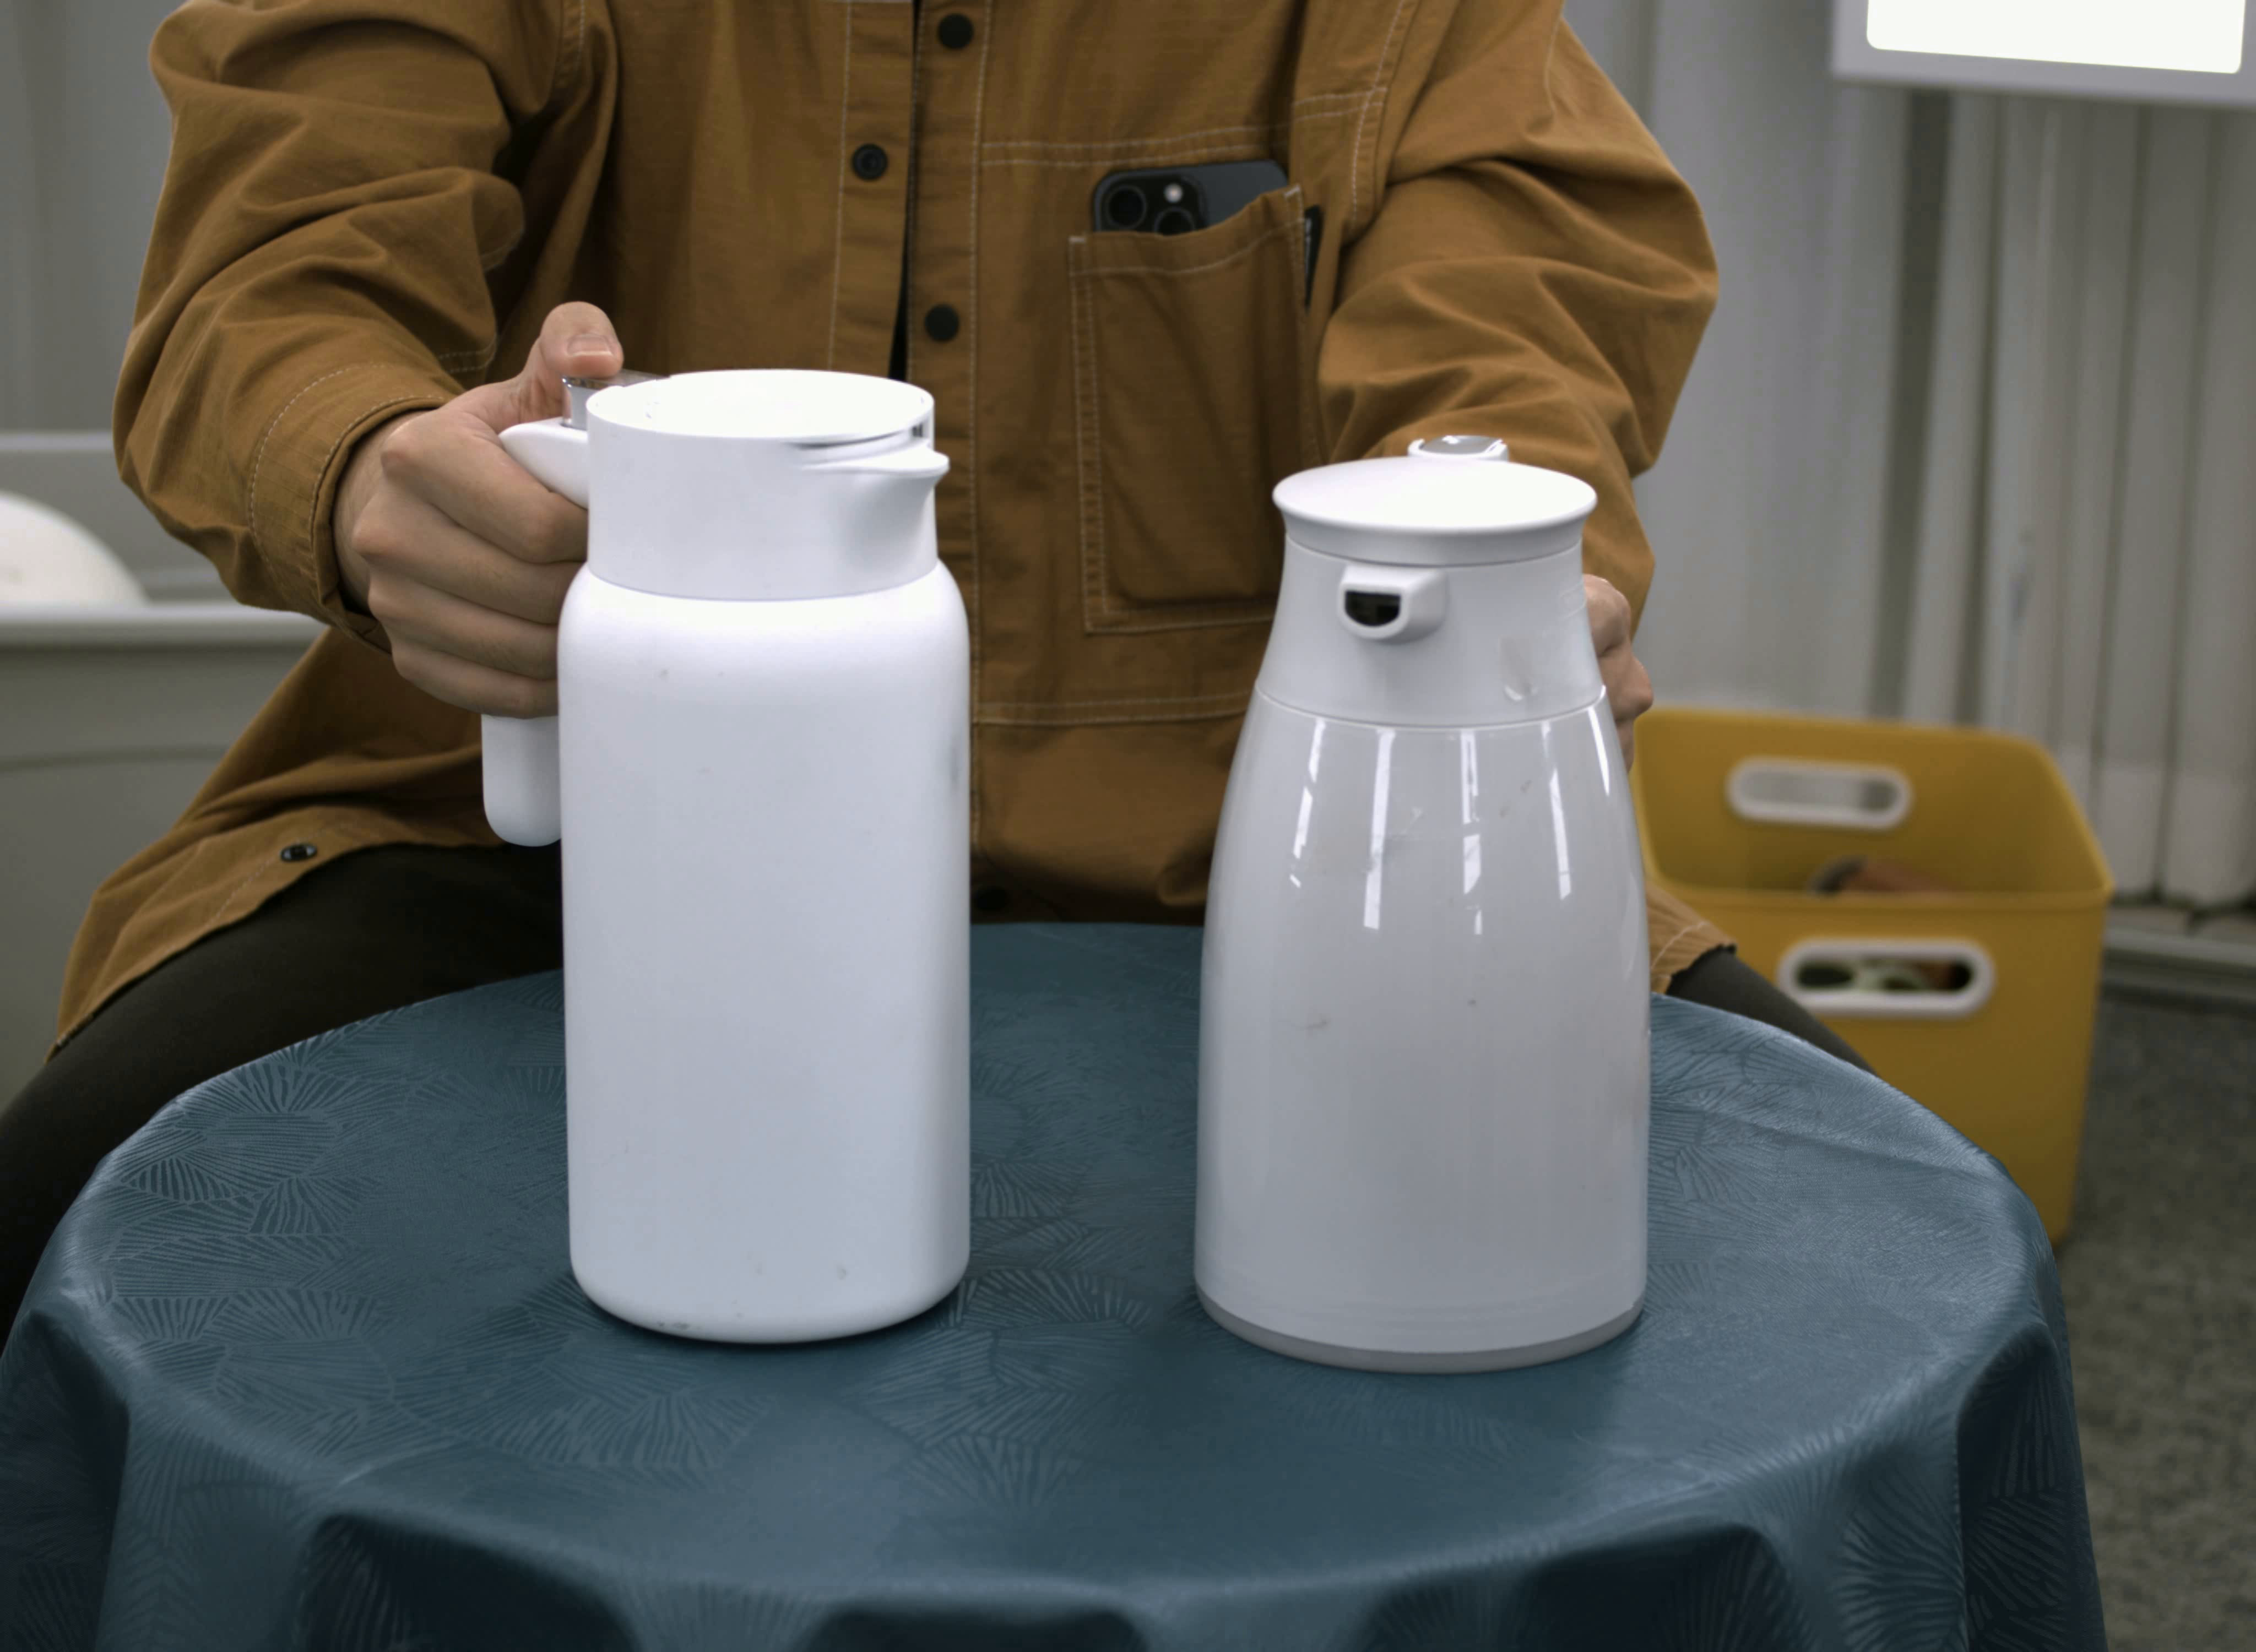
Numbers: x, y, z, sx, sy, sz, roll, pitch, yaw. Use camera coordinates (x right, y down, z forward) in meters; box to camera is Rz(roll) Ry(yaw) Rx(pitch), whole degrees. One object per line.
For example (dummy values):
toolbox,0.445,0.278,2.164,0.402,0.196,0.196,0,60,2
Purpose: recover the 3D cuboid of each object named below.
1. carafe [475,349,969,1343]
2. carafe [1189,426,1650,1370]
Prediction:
carafe,-0.118,0.003,1.512,0.170,0.271,0.124,13,22,37
carafe,0.090,0.012,1.521,0.131,0.250,0.168,5,16,16
